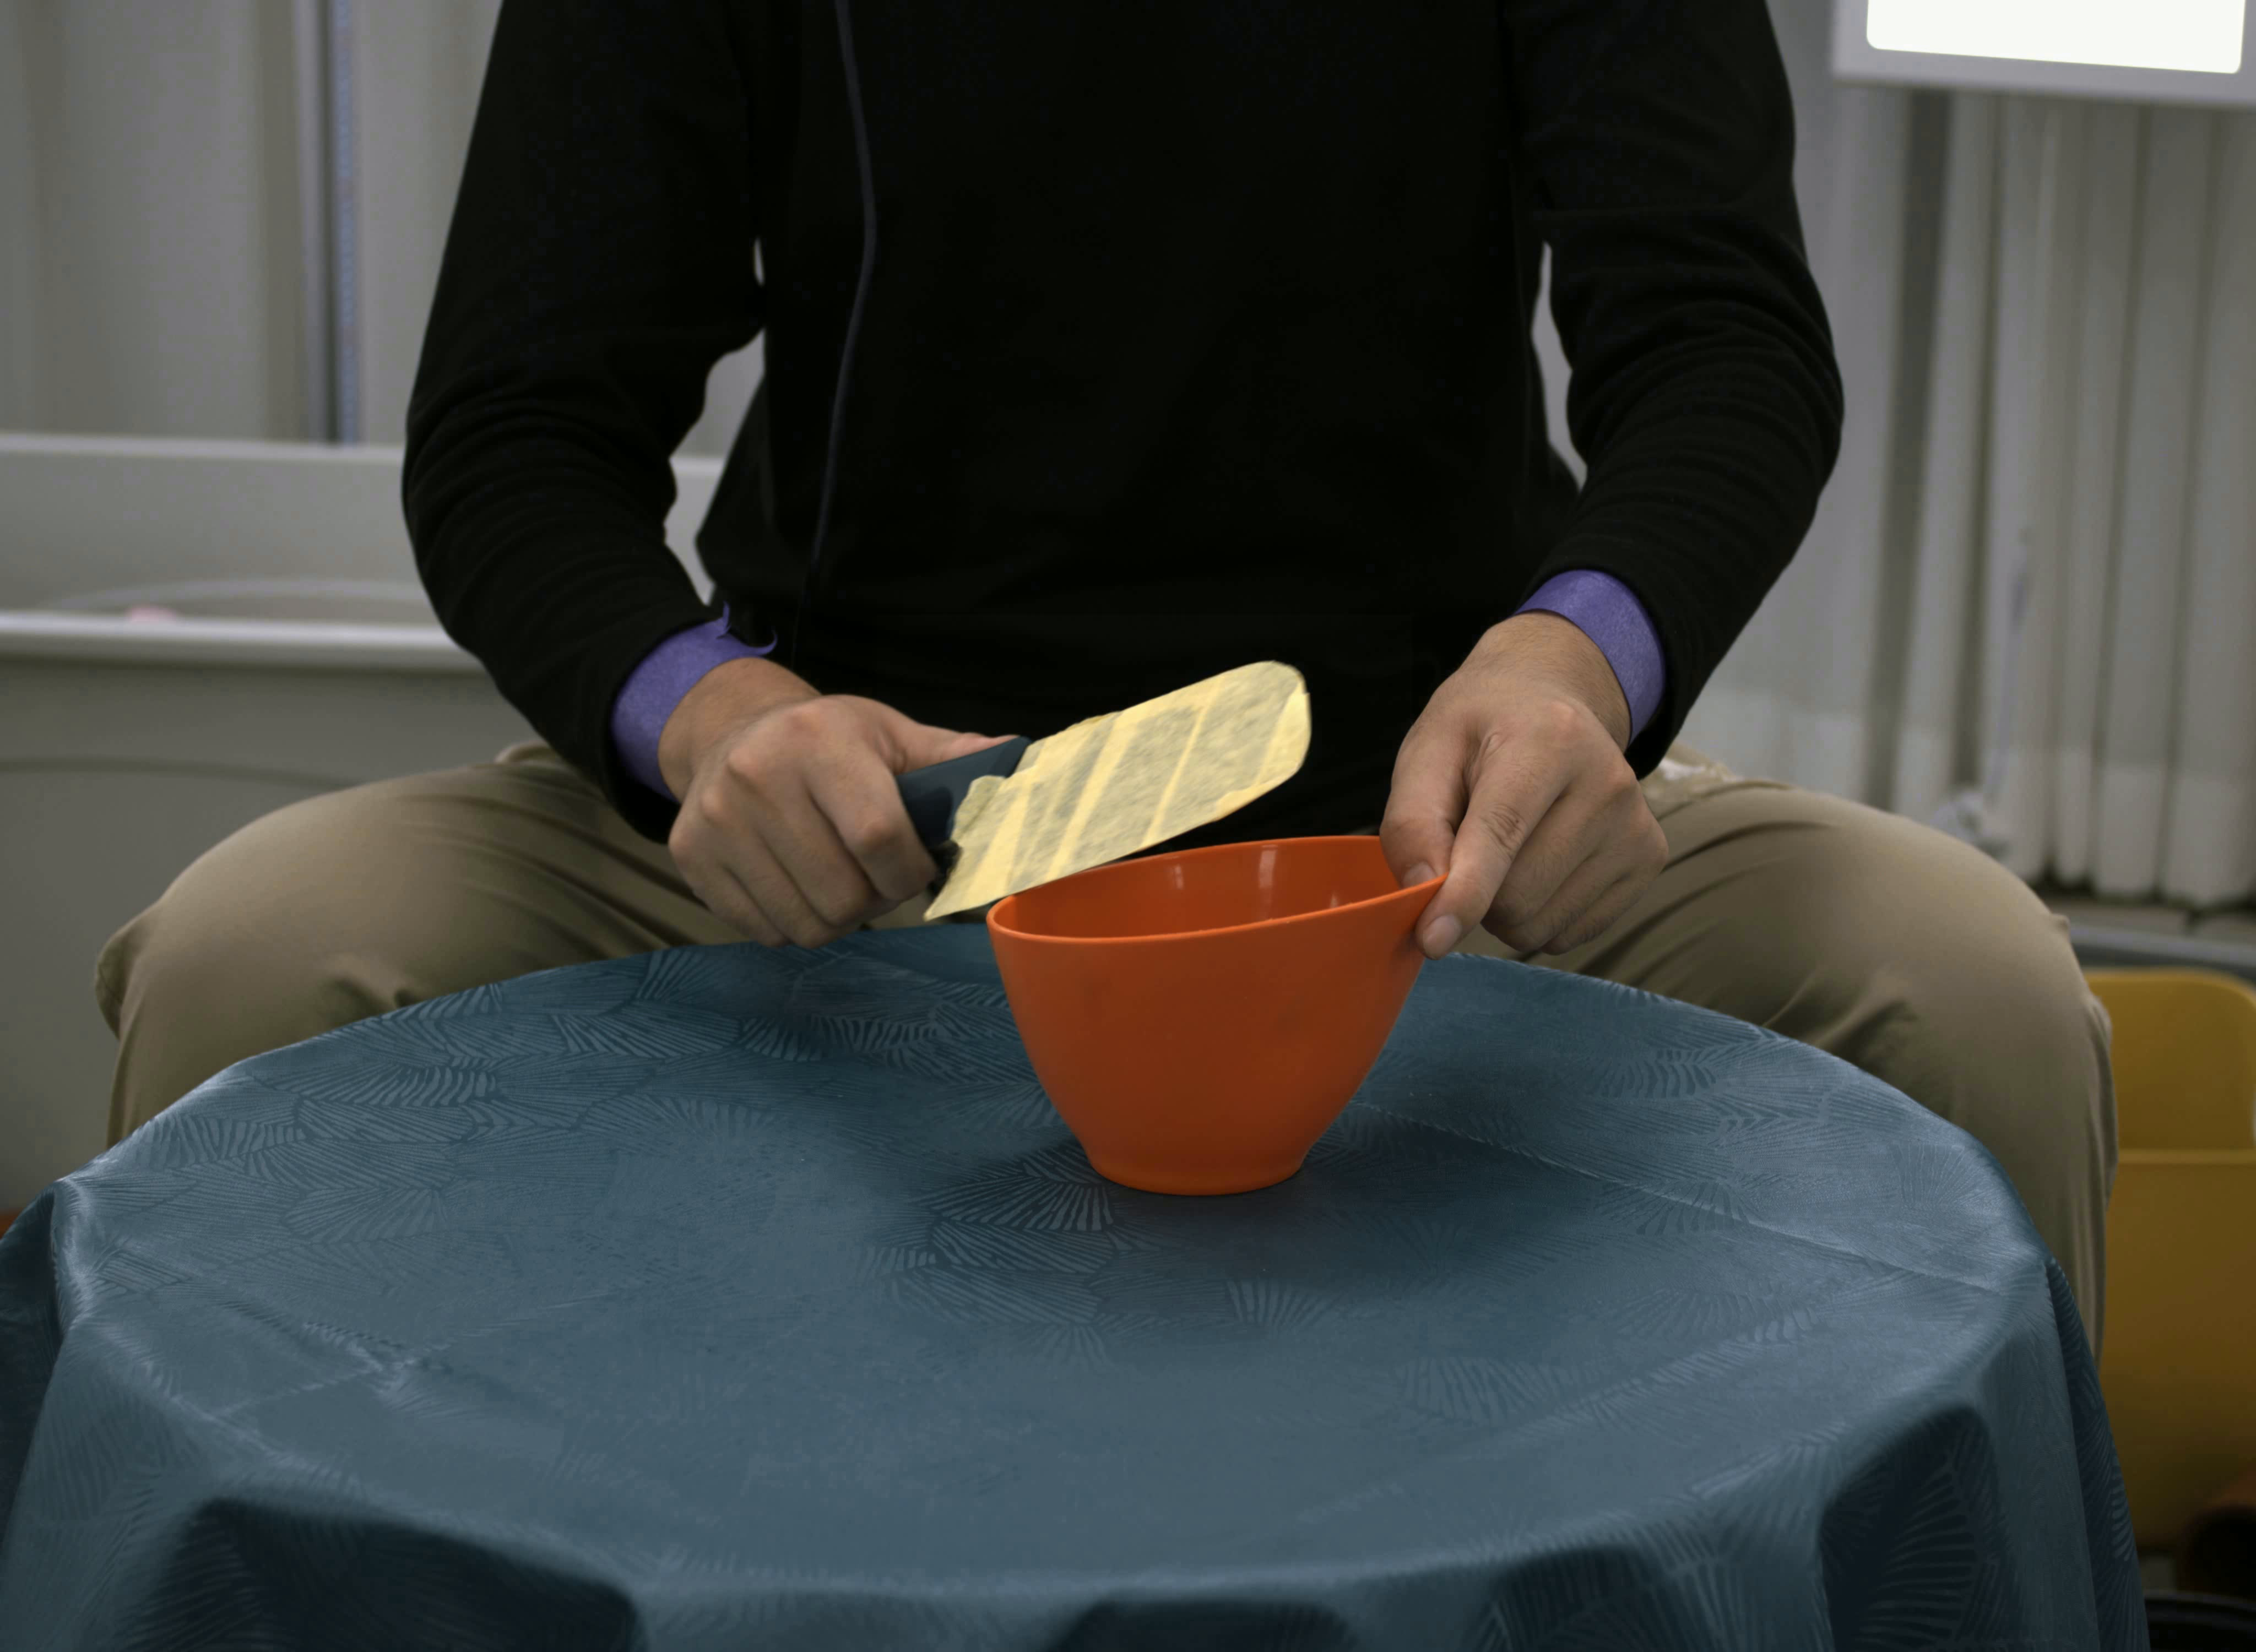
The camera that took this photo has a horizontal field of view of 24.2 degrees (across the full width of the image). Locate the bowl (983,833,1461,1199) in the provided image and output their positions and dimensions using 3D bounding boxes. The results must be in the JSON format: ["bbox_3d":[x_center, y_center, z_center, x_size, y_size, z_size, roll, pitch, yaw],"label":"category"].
[{"bbox_3d":[0.029,0.058,1.628,0.147,0.105,0.147,-1,16,1],"label":"bowl"}]

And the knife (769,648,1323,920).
[{"bbox_3d":[-0.032,-0.003,1.686,0.287,0.027,0.081,-19,34,49],"label":"knife"}]
